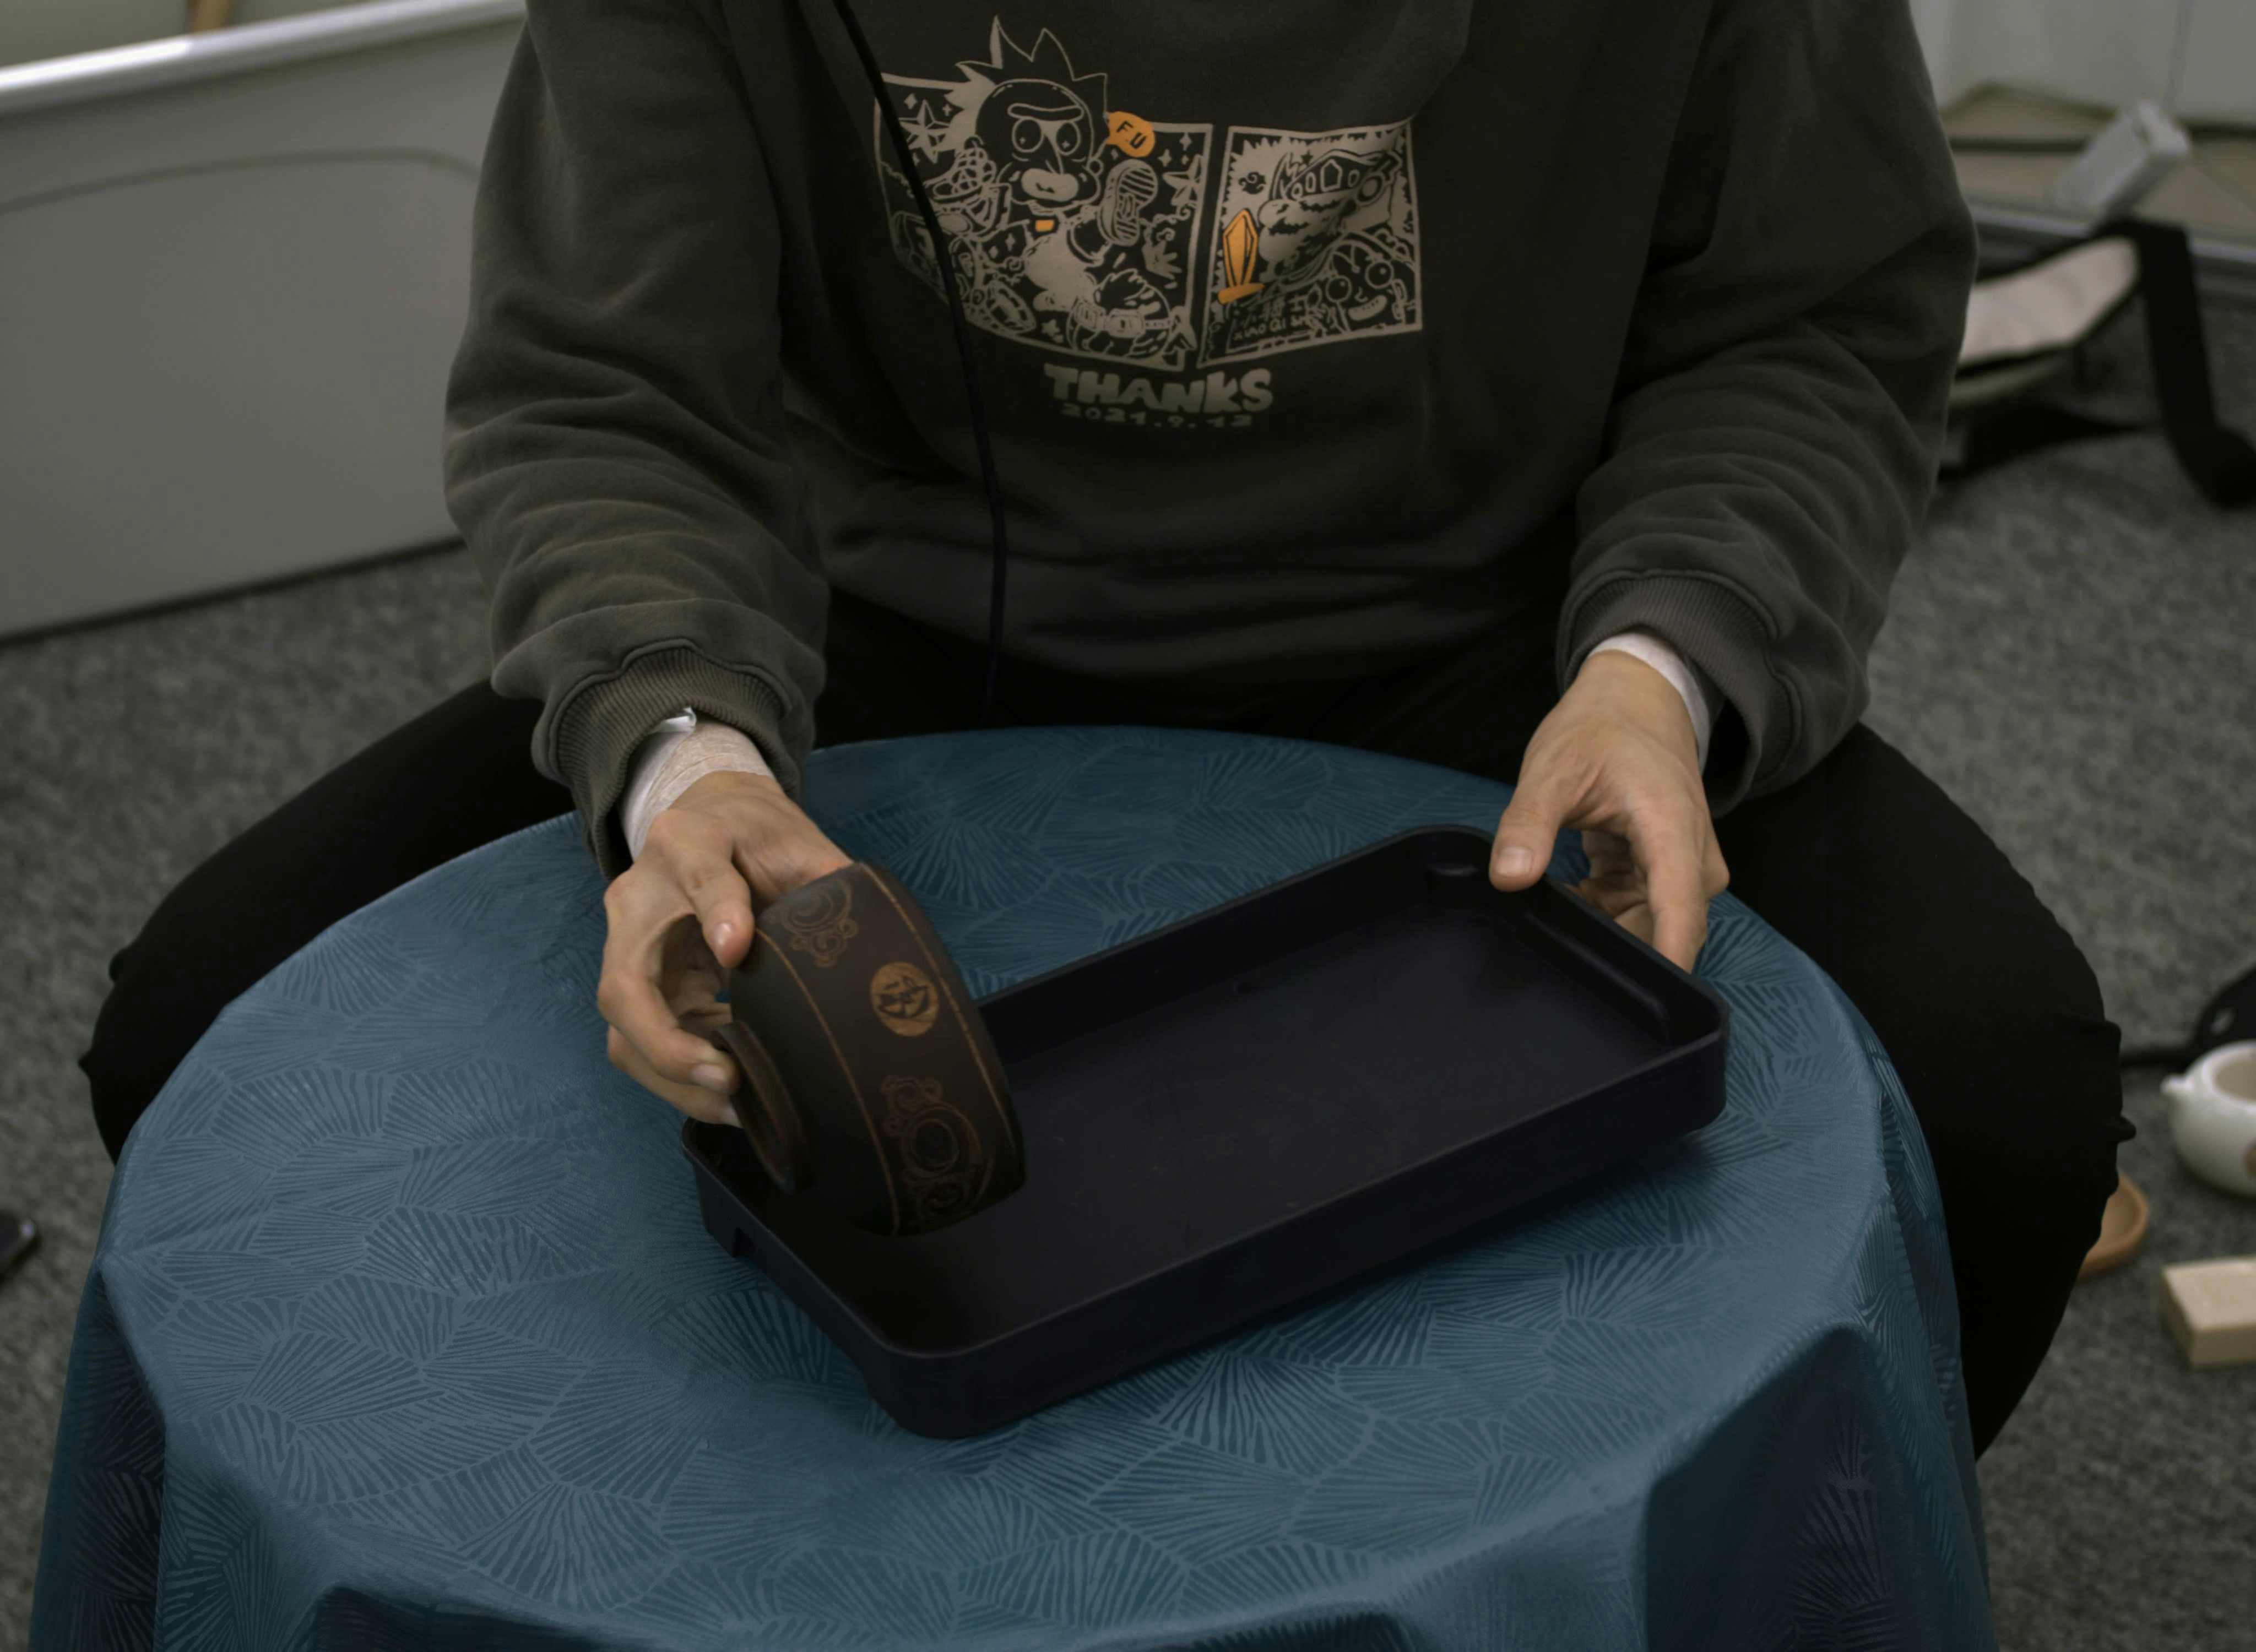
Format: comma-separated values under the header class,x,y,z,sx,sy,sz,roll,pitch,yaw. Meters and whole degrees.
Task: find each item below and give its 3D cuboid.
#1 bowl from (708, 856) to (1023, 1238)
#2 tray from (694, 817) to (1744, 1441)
class,x,y,z,sx,sy,sz,roll,pitch,yaw
bowl,-0.089,0.076,1.760,0.070,0.117,0.119,-24,32,-16
tray,0.032,0.094,1.854,0.320,0.036,0.185,-22,32,-25
